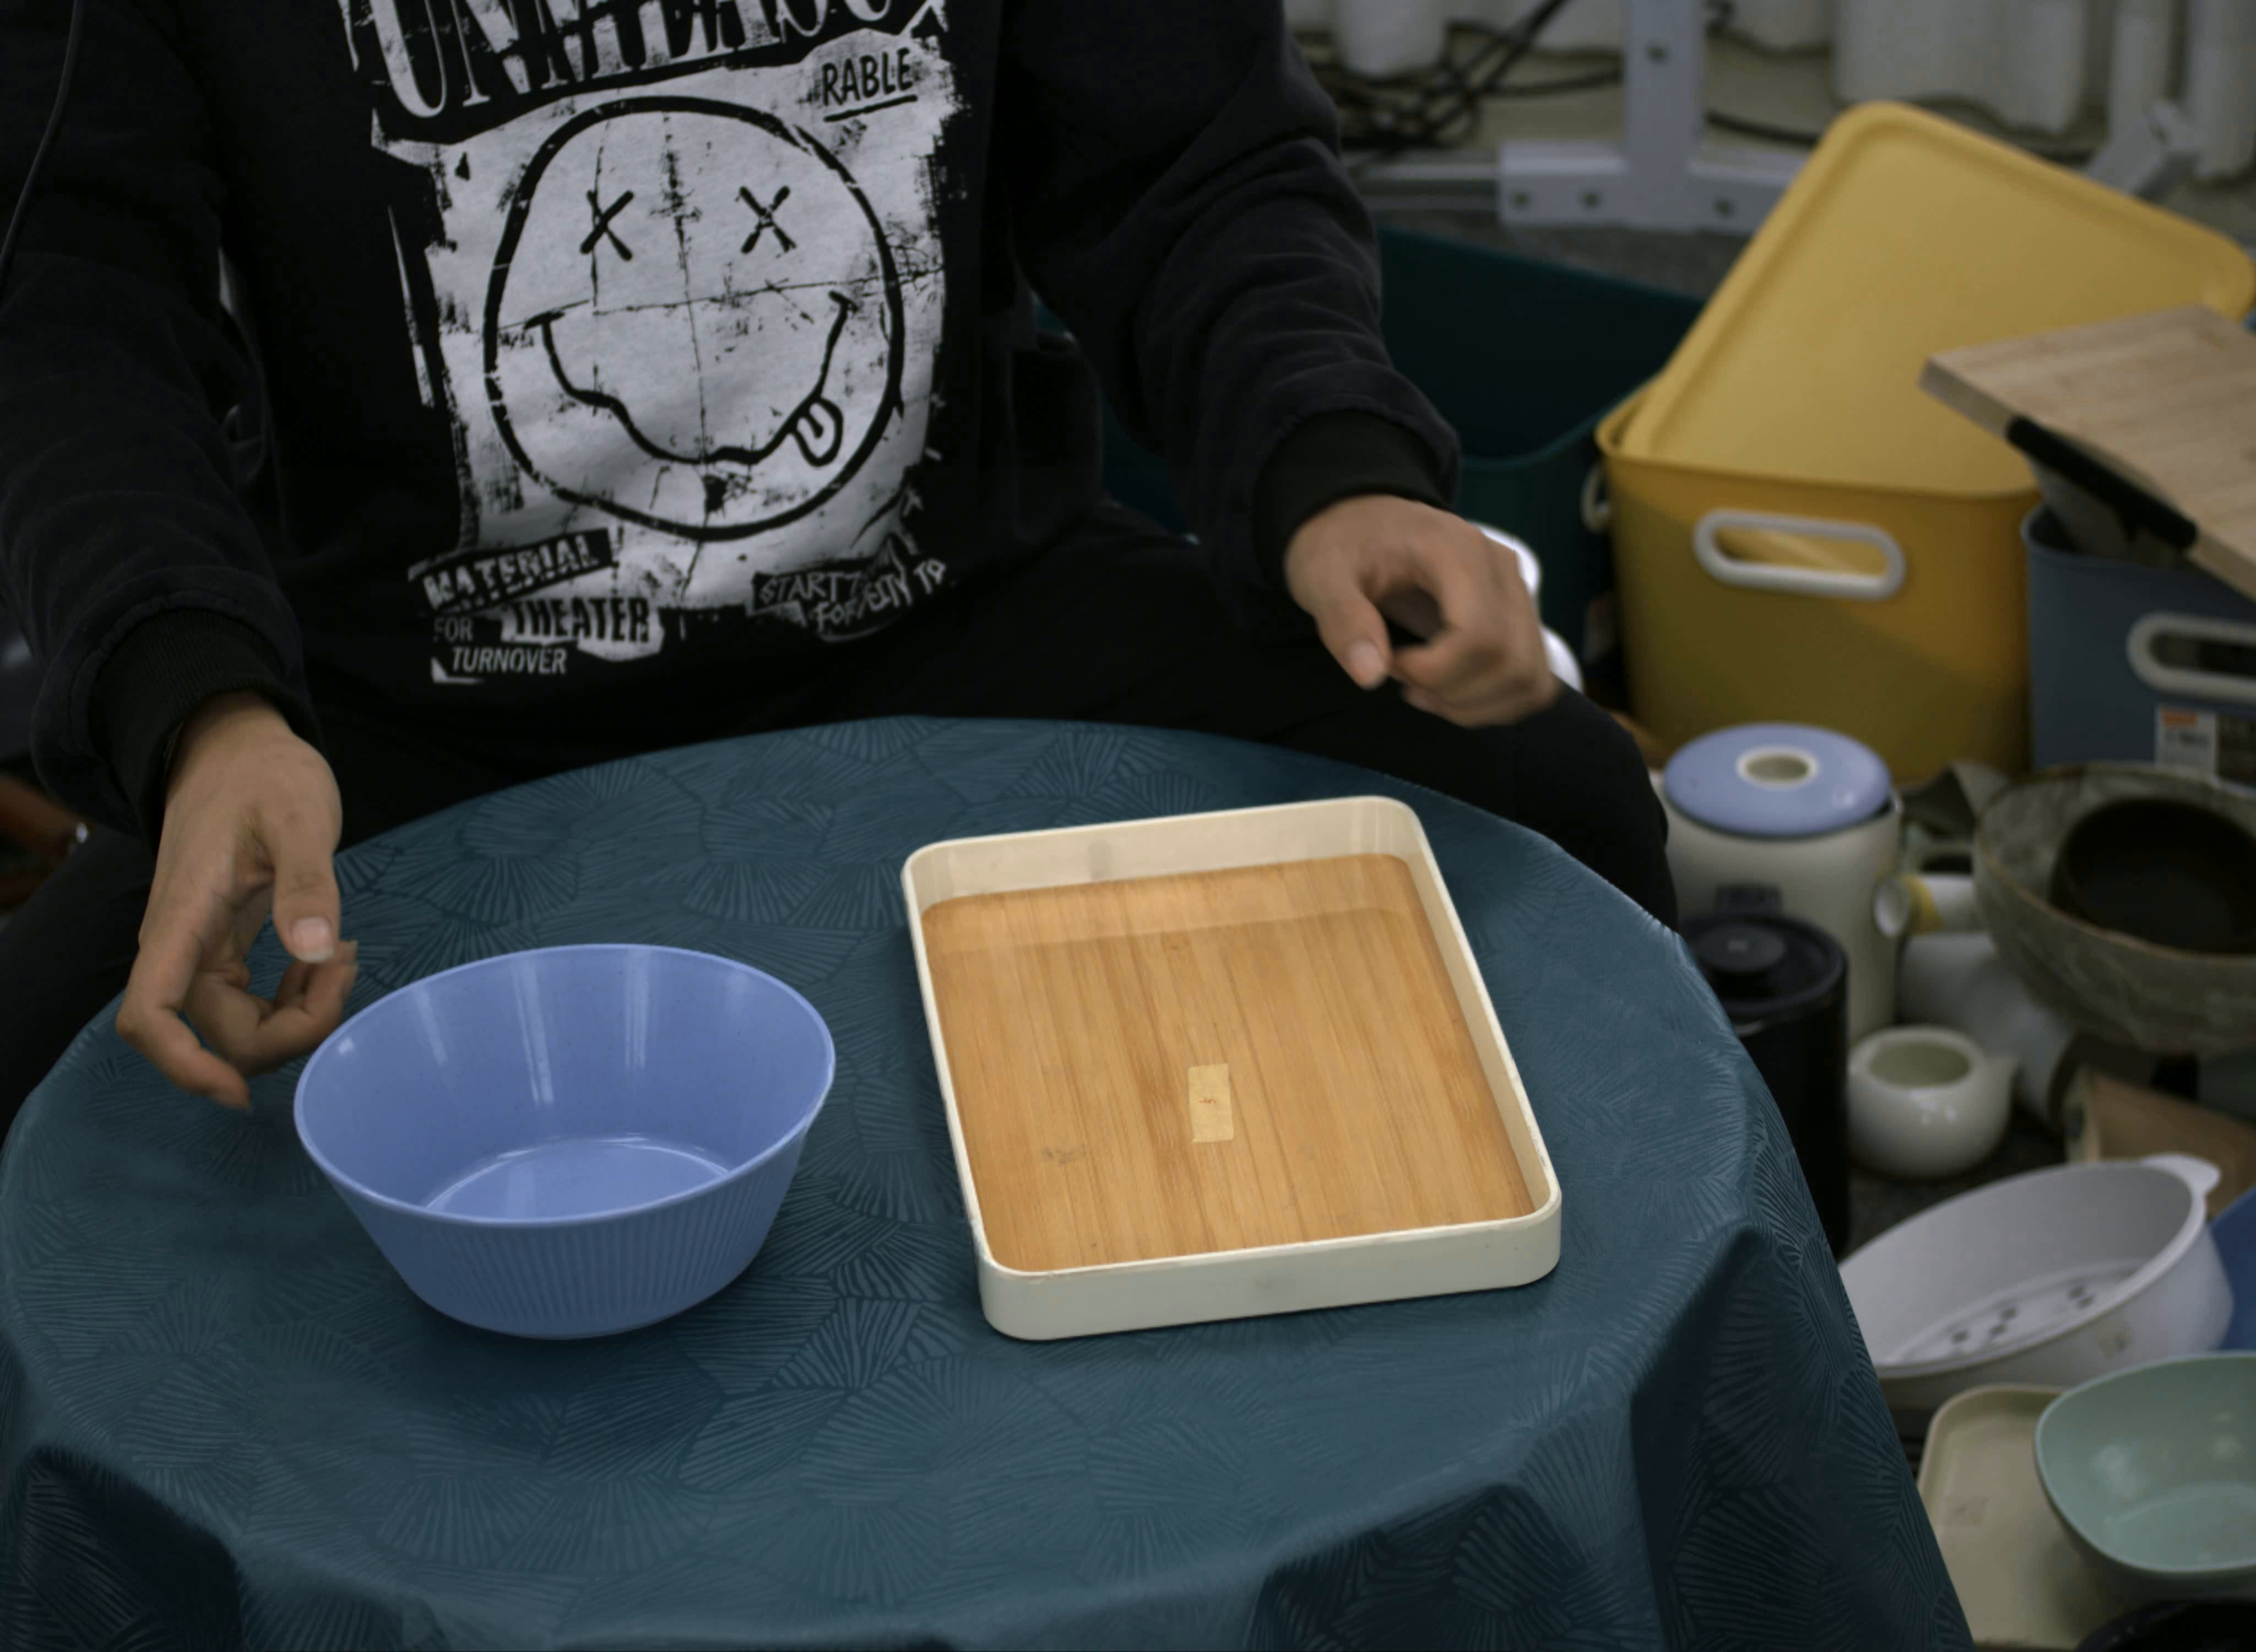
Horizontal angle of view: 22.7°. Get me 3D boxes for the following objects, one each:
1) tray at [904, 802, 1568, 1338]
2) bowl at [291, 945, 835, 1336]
[{"bbox_3d":[0.030,0.078,1.914,0.191,0.027,0.304,-5,27,-6],"label":"tray"},{"bbox_3d":[-0.181,0.109,1.827,0.175,0.069,0.179,-1,28,1],"label":"bowl"}]
